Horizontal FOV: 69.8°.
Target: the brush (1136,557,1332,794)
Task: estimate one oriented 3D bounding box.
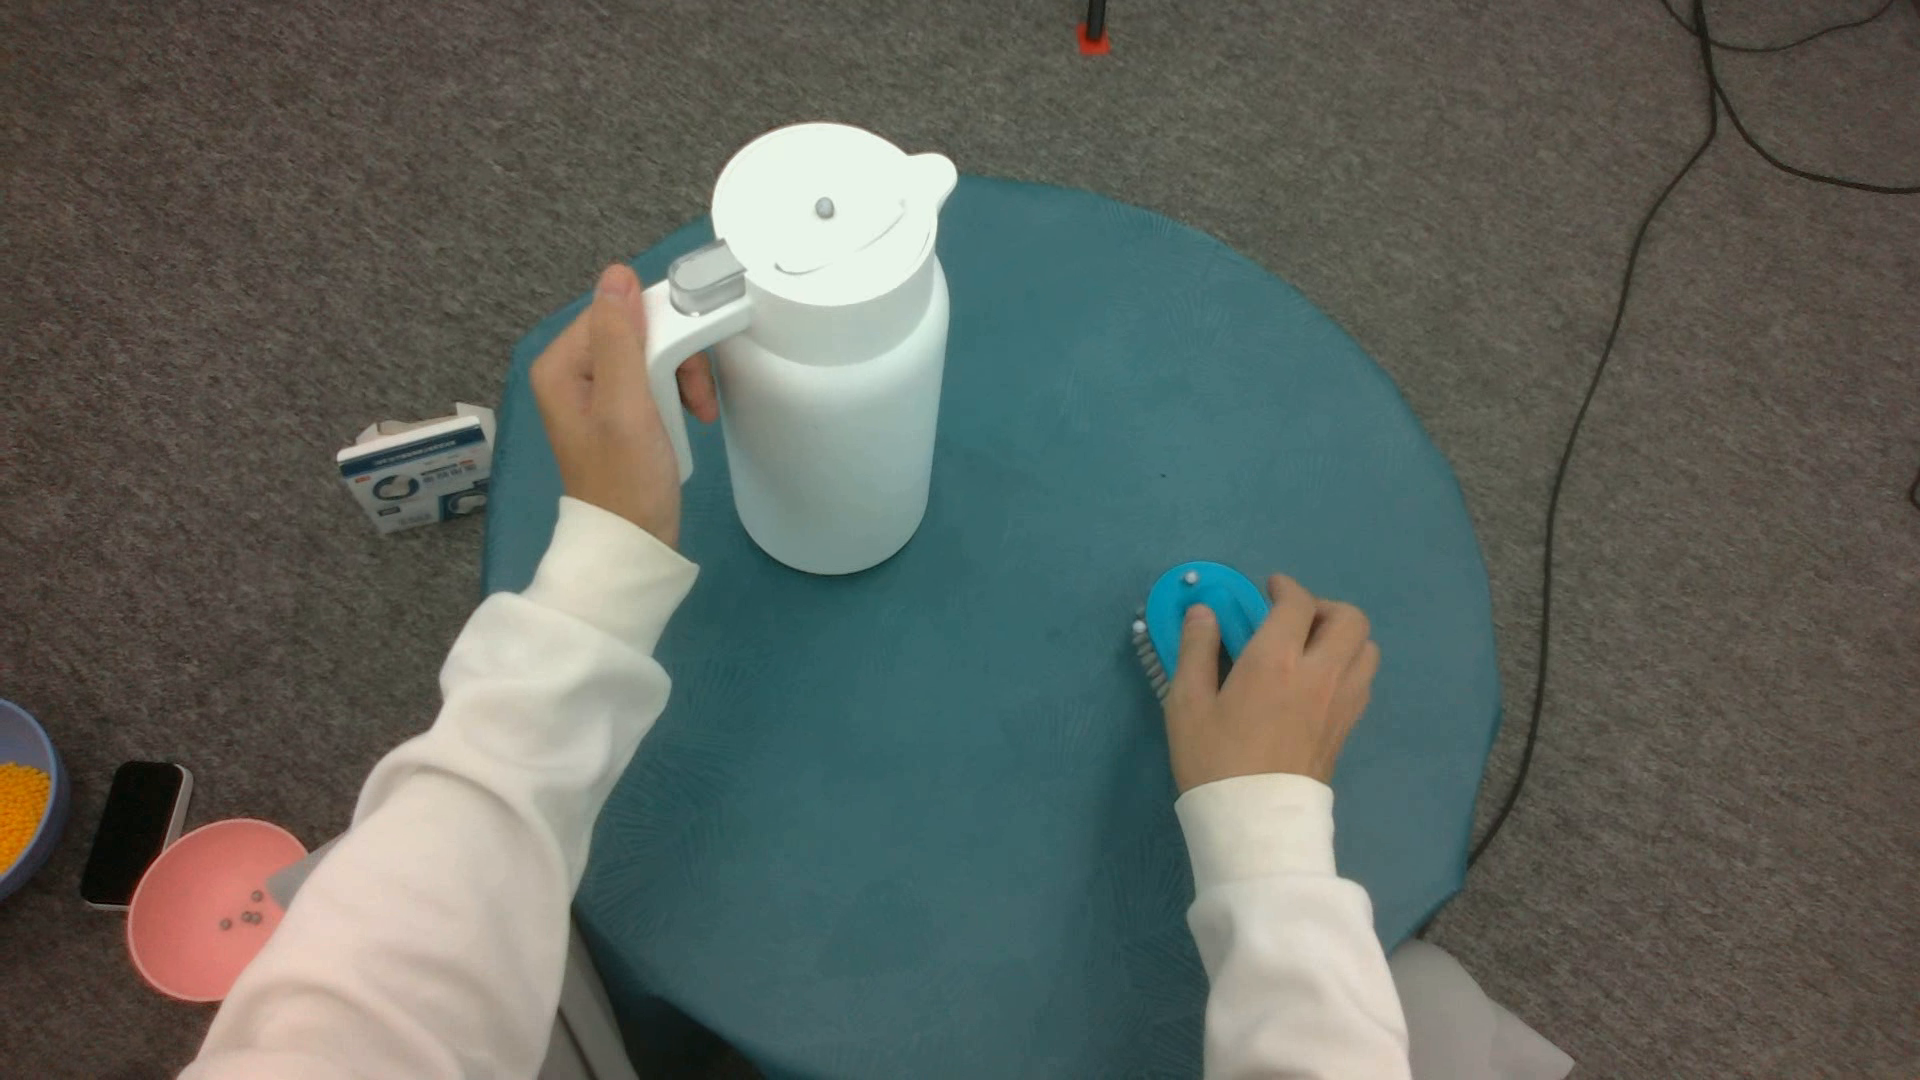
[{"bbox_3d":[0.160,0.069,0.784,0.084,0.063,0.142,-15,66,-16],"label":"brush"}]

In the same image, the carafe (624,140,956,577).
[{"bbox_3d":[-0.080,-0.074,0.725,0.173,0.268,0.124,-32,72,-17],"label":"carafe"}]
